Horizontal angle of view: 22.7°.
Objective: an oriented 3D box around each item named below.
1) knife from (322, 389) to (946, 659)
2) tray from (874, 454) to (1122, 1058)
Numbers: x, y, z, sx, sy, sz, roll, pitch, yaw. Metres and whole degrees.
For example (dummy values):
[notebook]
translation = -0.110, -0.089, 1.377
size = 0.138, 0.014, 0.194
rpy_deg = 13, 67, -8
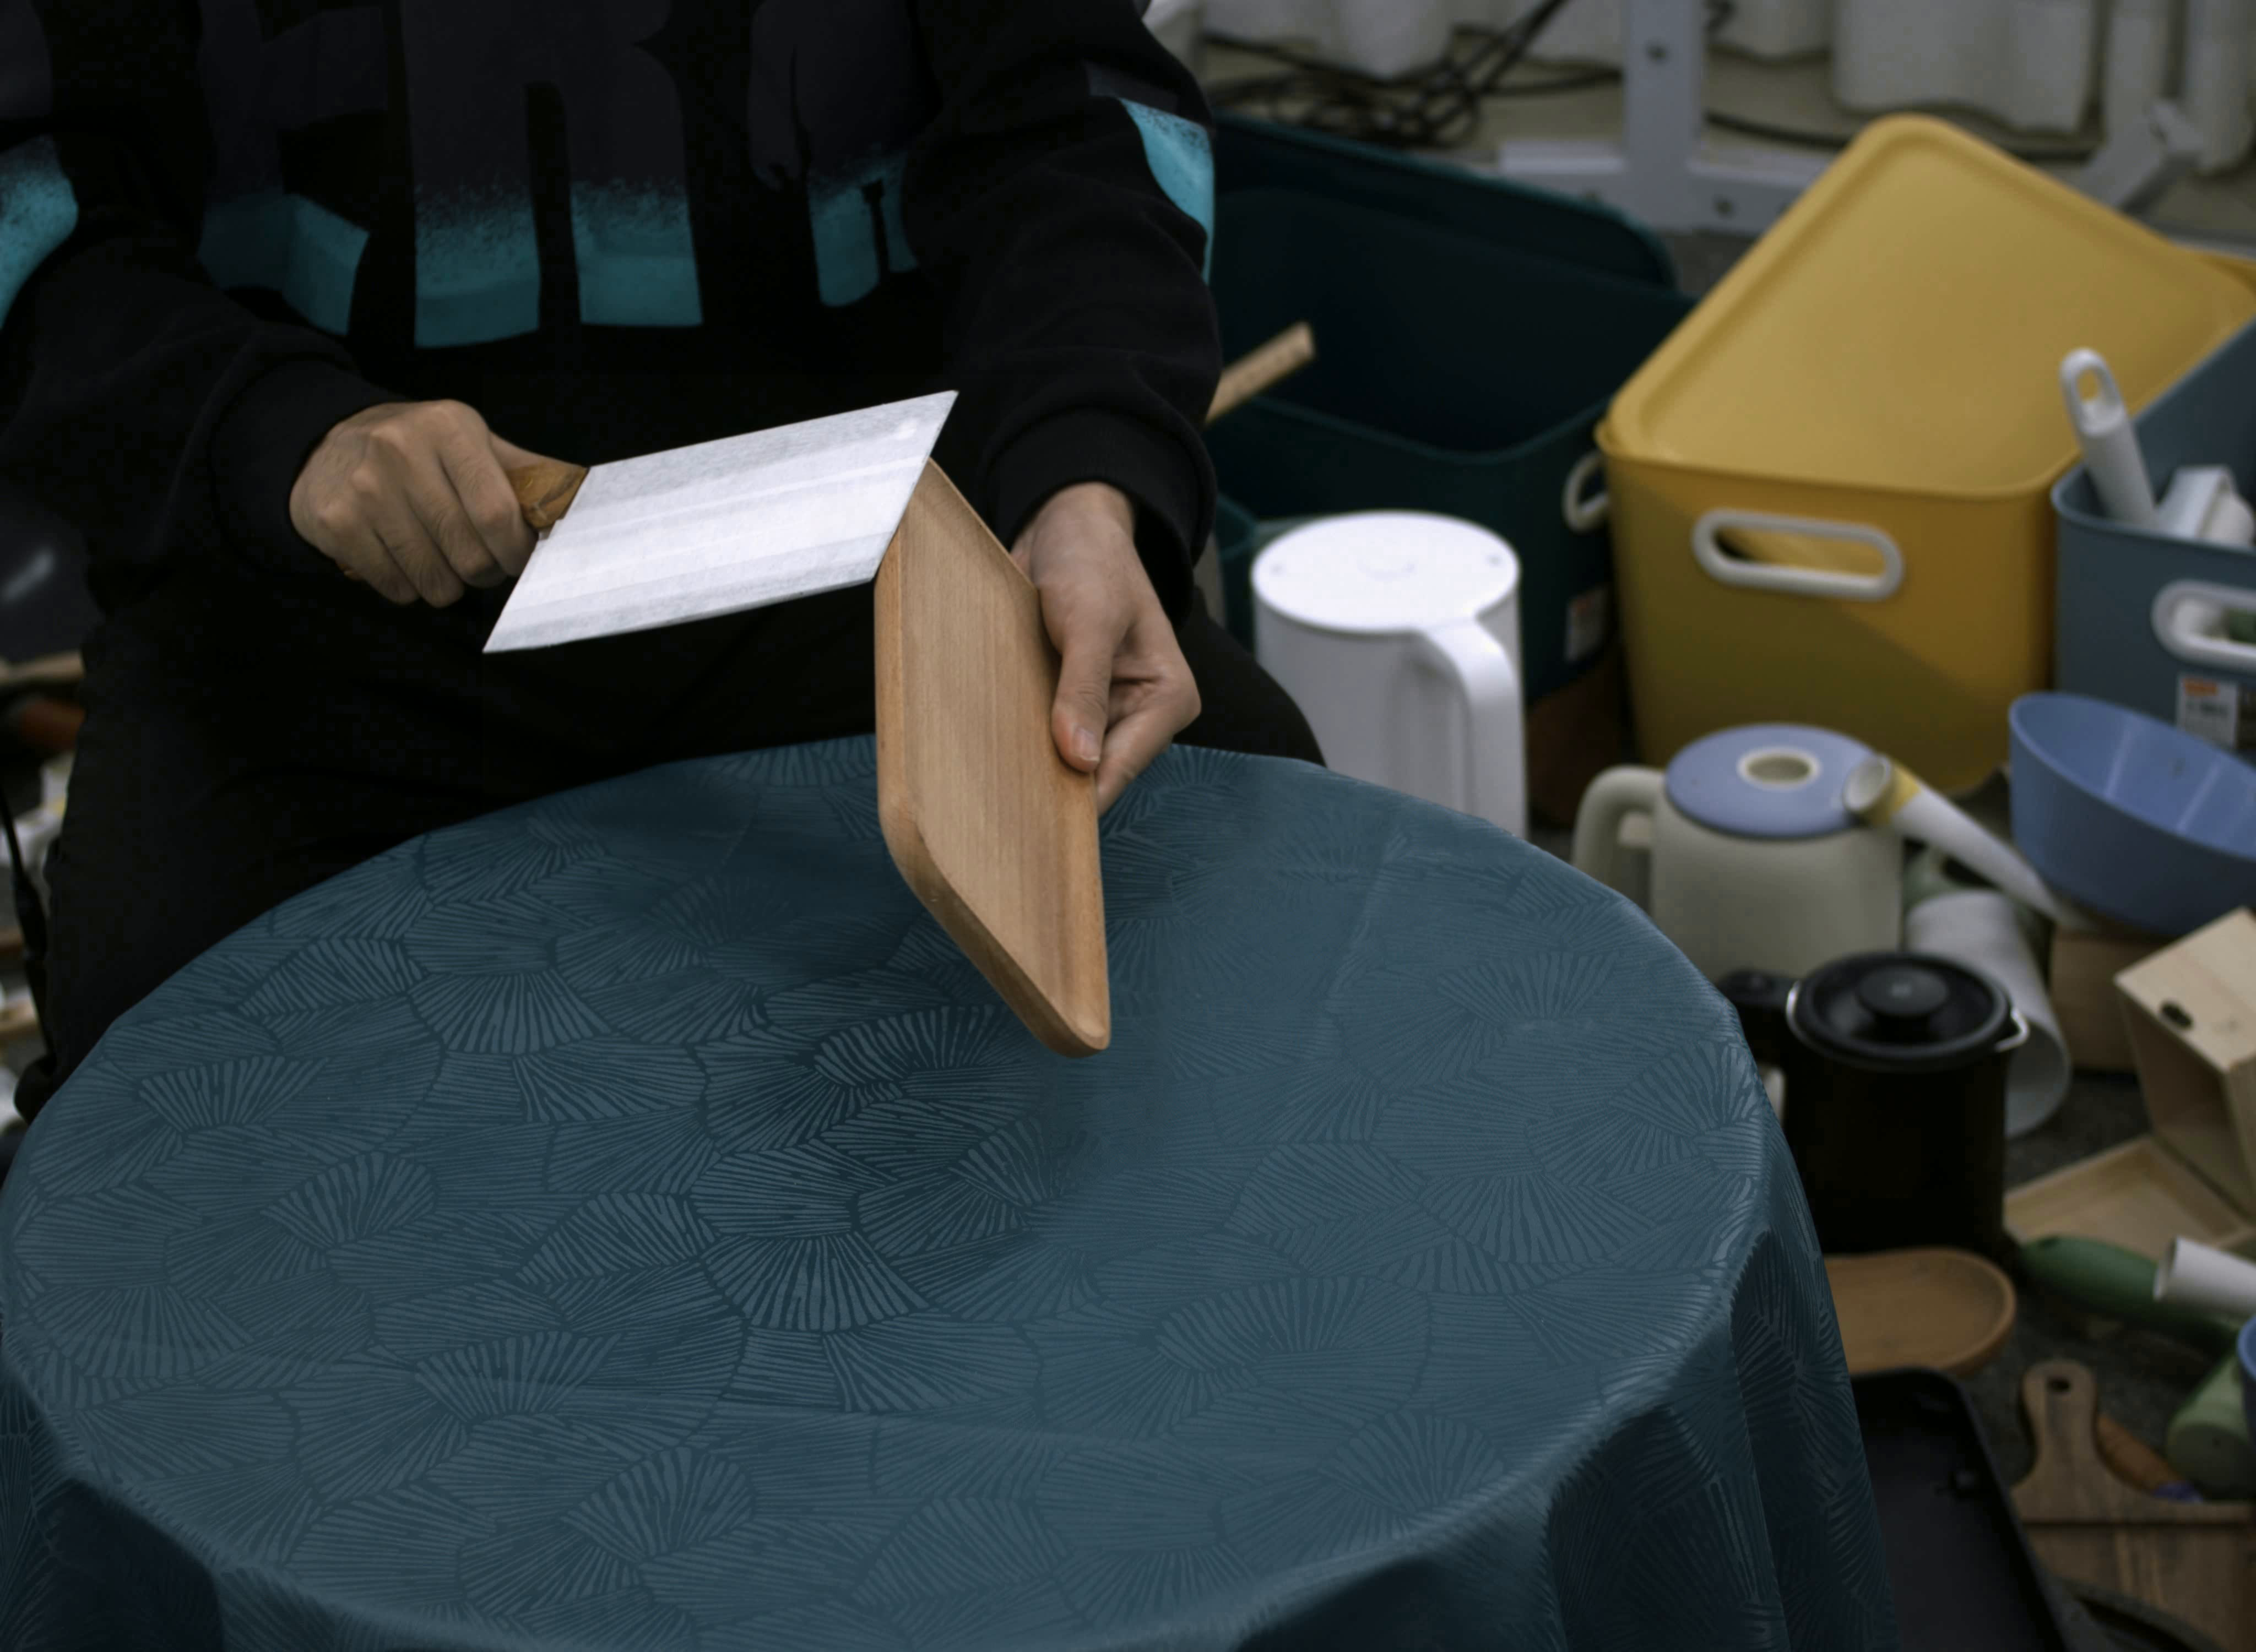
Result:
[knife]
translation = -0.191, -0.102, 2.044
size = 0.302, 0.021, 0.095
rpy_deg = -9, 47, 38
[tray]
translation = -0.047, -0.027, 1.933
size = 0.022, 0.129, 0.255
rpy_deg = -28, 30, 14
